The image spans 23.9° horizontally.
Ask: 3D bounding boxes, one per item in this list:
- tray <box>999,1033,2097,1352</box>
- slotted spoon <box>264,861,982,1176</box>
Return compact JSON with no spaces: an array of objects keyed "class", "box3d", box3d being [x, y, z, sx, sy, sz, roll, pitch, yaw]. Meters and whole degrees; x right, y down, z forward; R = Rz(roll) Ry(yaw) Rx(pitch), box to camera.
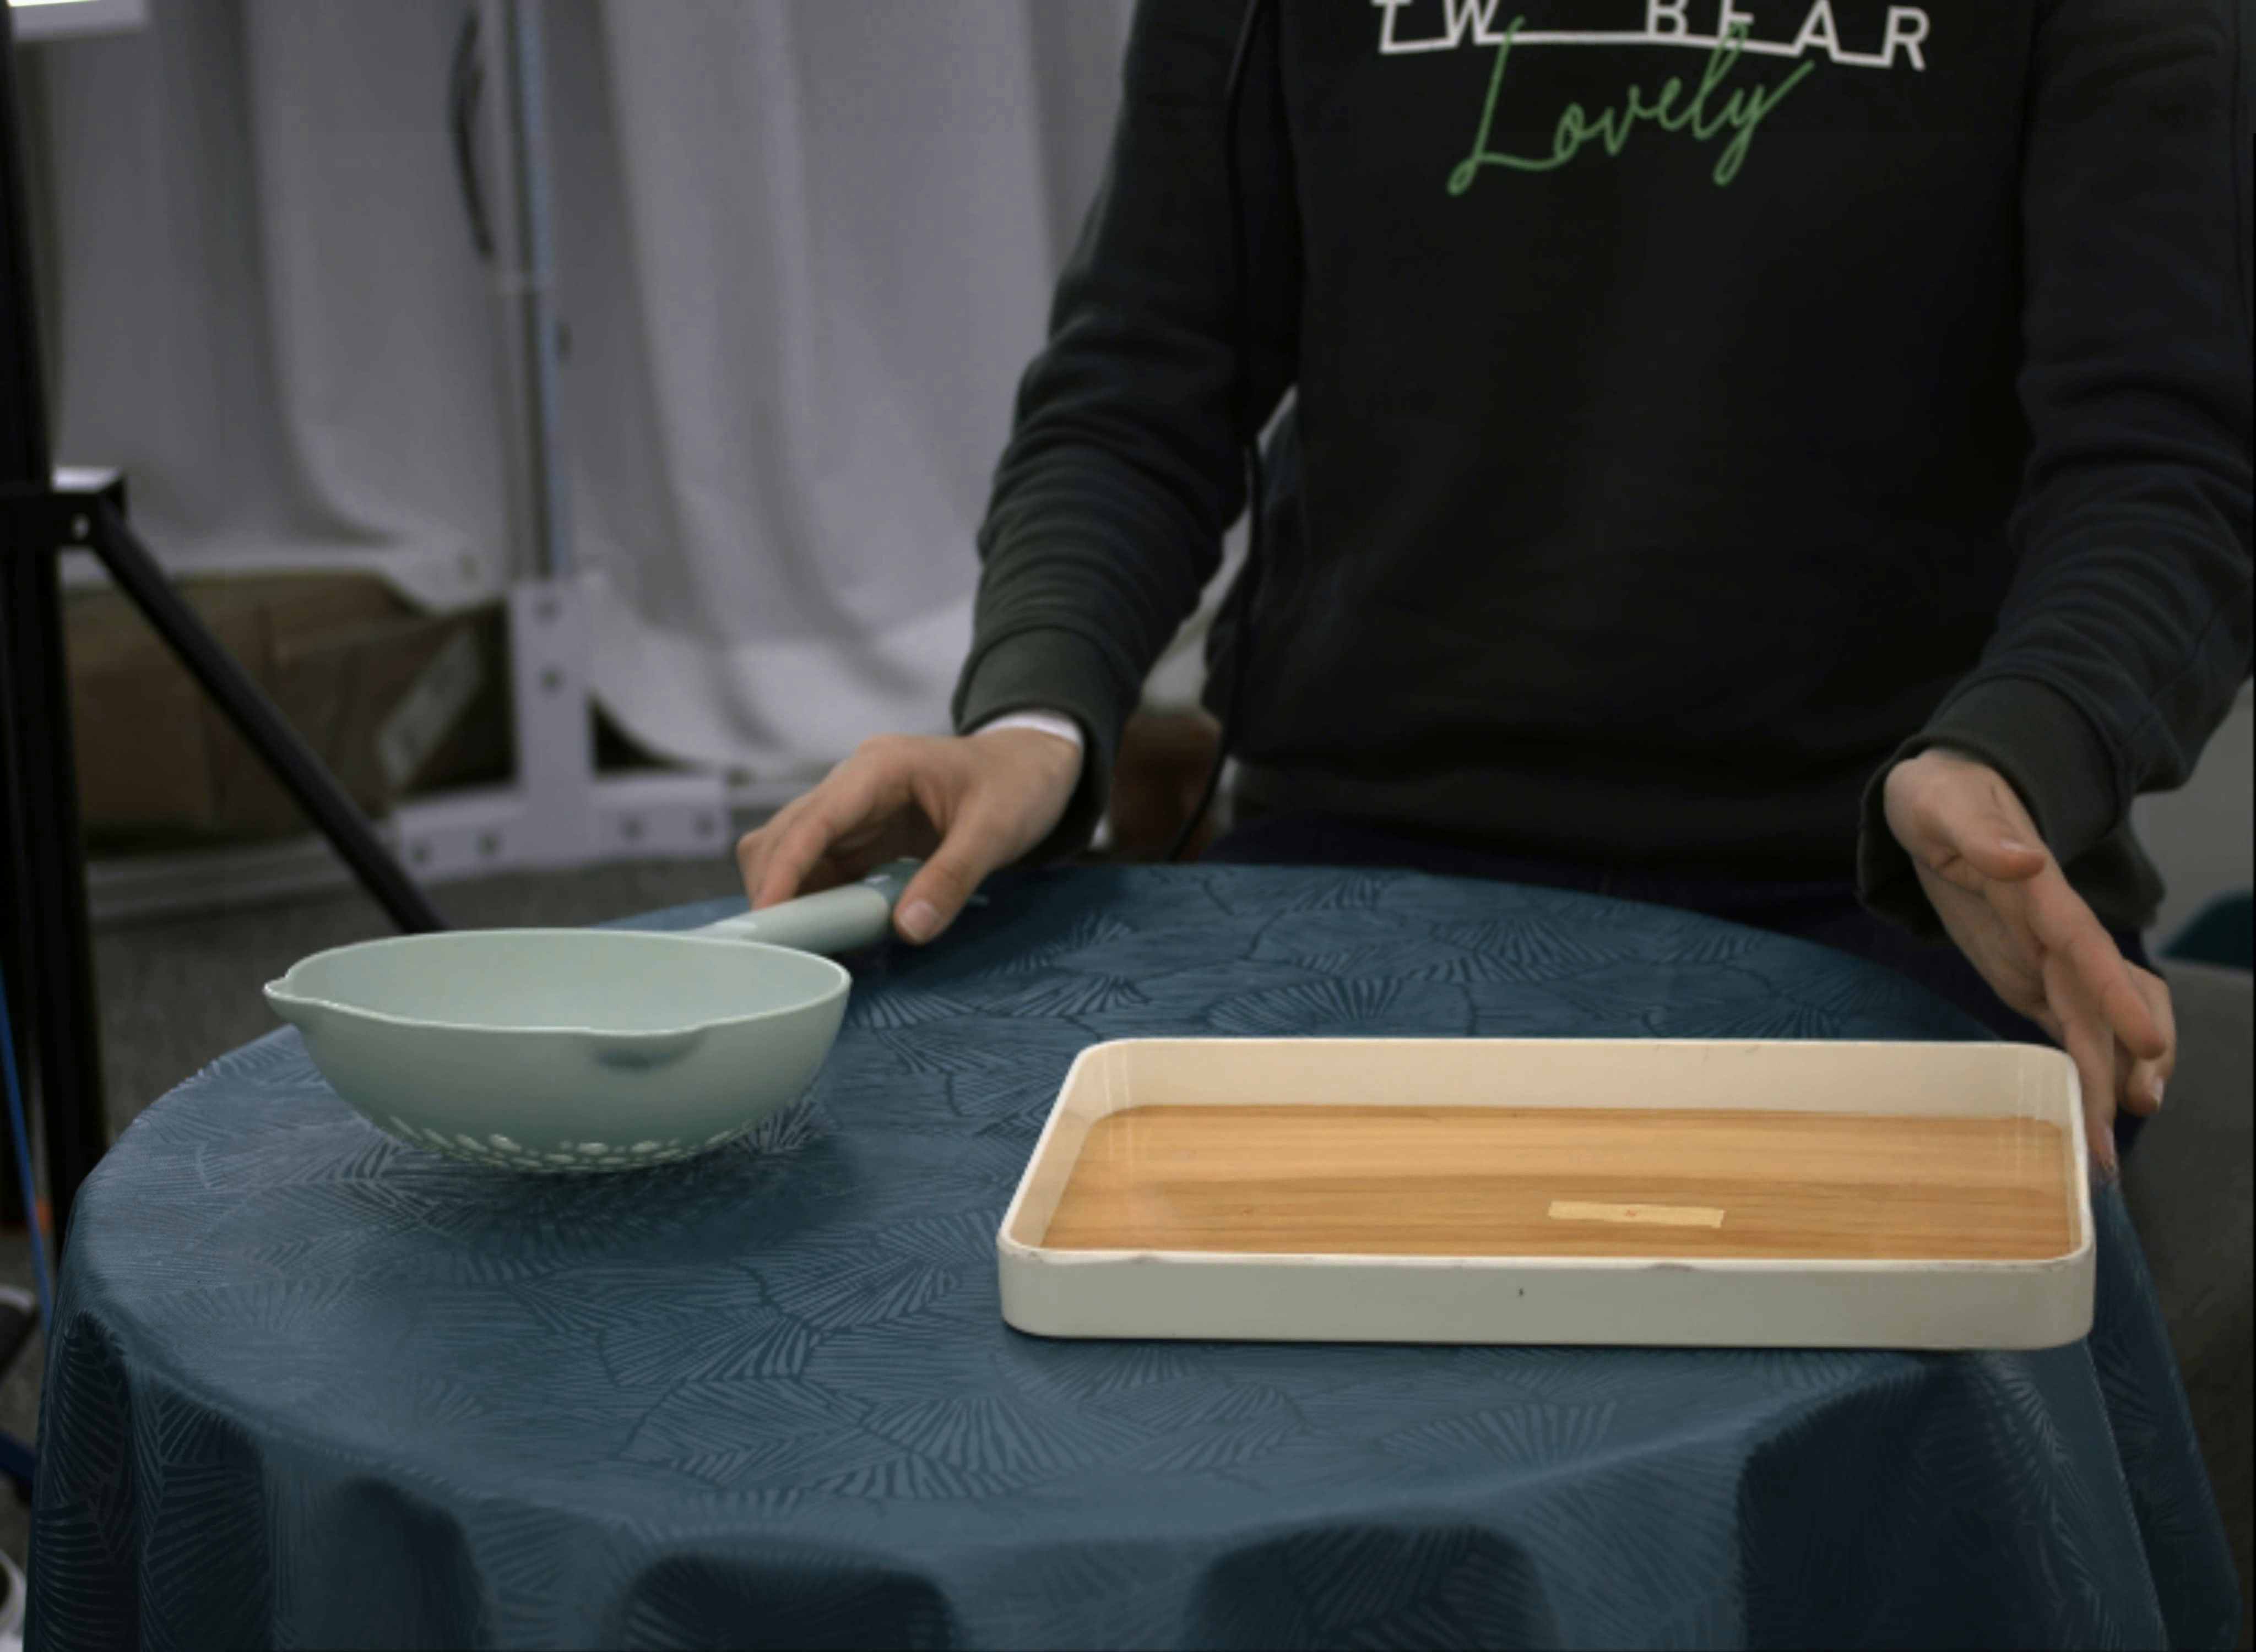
[{"class":"tray","box3d":[0.123,0.103,1.507,0.301,0.027,0.191,0,16,10]},{"class":"slotted spoon","box3d":[-0.128,0.045,1.685,0.172,0.075,0.354,5,18,24]}]
